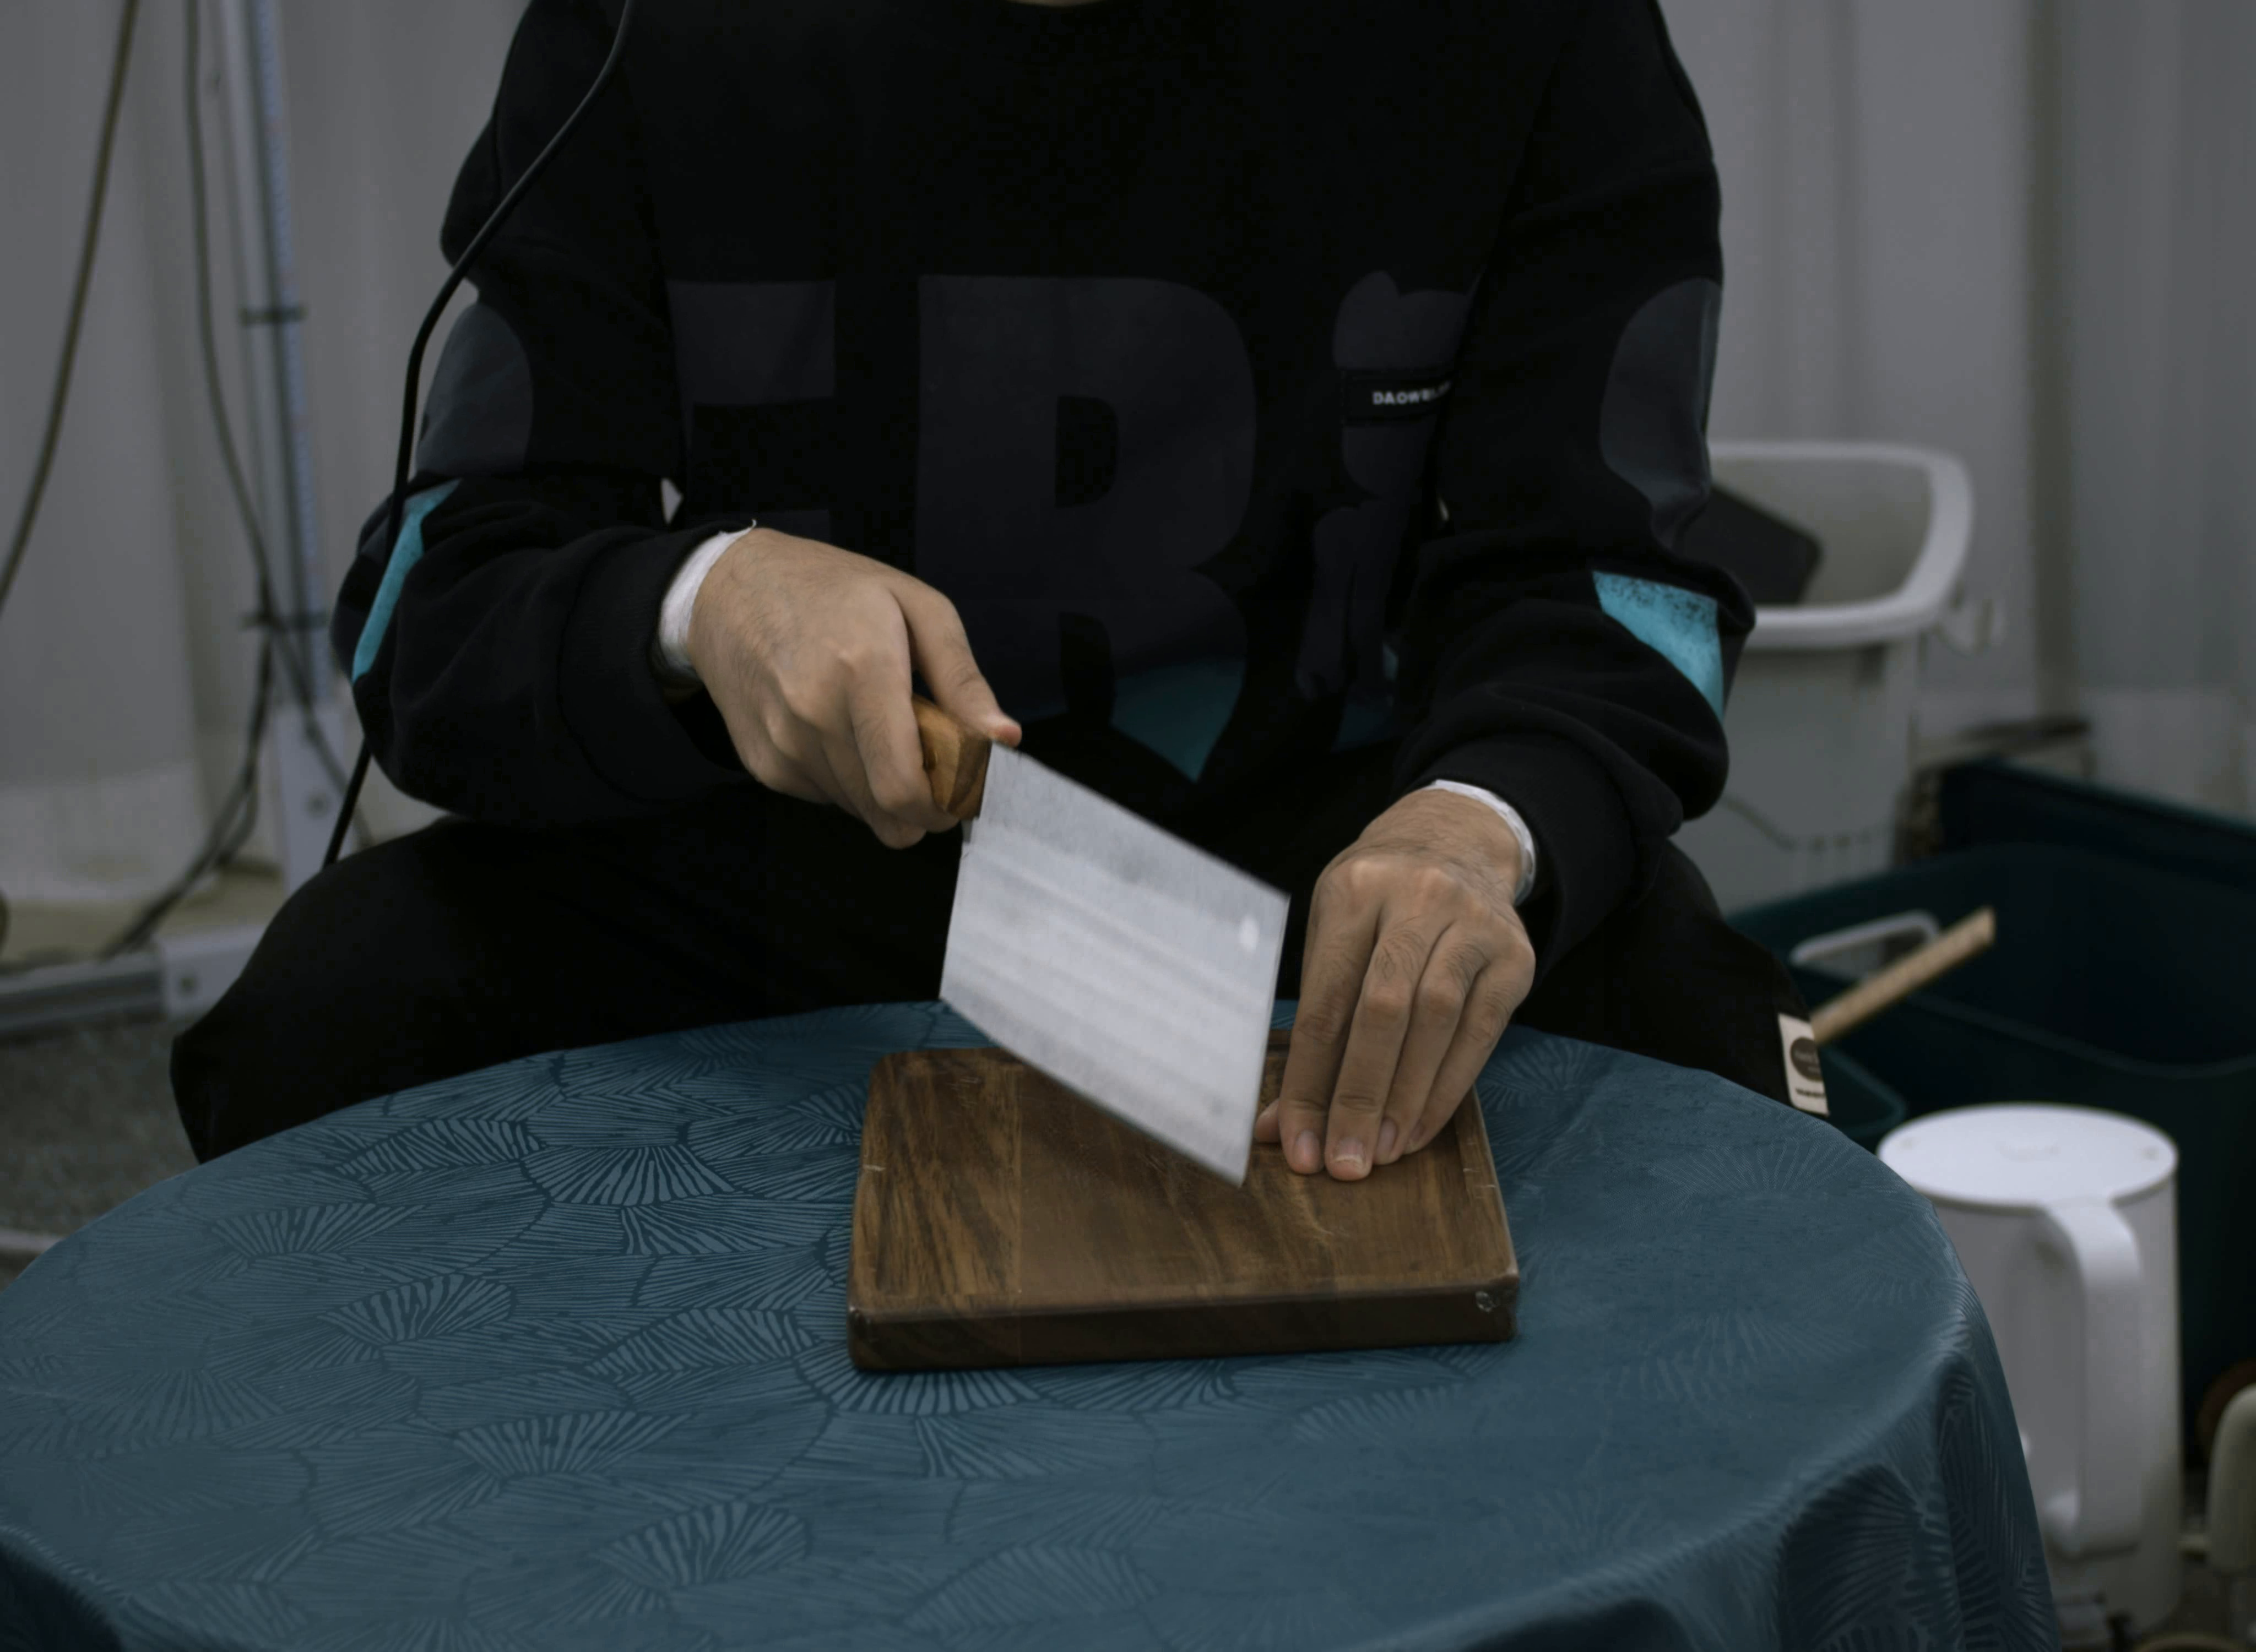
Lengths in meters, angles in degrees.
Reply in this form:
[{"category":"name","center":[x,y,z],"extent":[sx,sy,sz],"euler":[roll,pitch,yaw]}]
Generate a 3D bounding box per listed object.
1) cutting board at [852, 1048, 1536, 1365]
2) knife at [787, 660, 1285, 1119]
[{"category":"cutting board","center":[0.016,0.102,1.732],"extent":[0.200,0.023,0.354],"euler":[-2,13,0]},{"category":"knife","center":[-0.034,0.019,1.723],"extent":[0.021,0.092,0.308],"euler":[0,15,-31]}]
